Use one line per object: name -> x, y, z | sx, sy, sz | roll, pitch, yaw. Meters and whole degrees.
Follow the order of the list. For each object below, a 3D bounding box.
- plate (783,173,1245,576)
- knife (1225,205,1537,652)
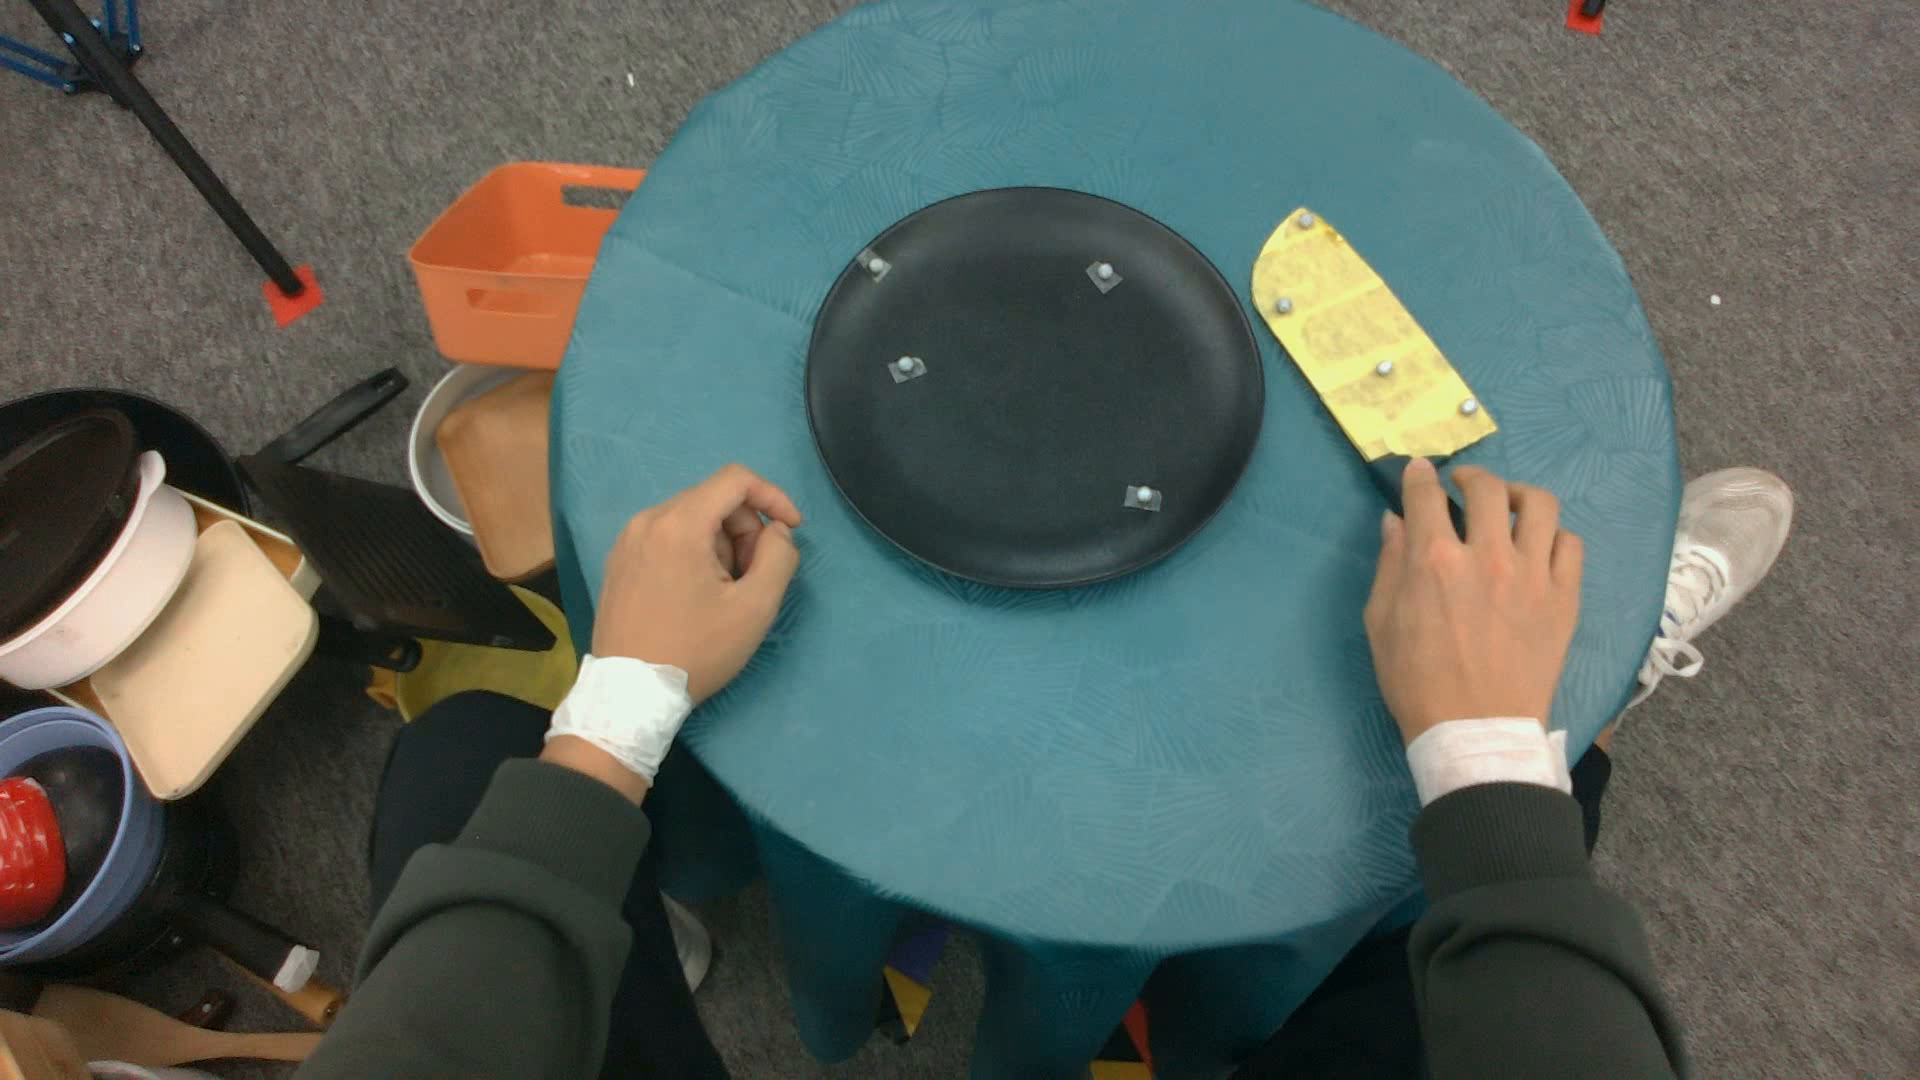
plate -> 0.029, -0.092, 0.733 | 0.244, 0.023, 0.245 | 1, 66, -1
knife -> 0.227, -0.071, 0.735 | 0.081, 0.027, 0.290 | -22, 68, -10
